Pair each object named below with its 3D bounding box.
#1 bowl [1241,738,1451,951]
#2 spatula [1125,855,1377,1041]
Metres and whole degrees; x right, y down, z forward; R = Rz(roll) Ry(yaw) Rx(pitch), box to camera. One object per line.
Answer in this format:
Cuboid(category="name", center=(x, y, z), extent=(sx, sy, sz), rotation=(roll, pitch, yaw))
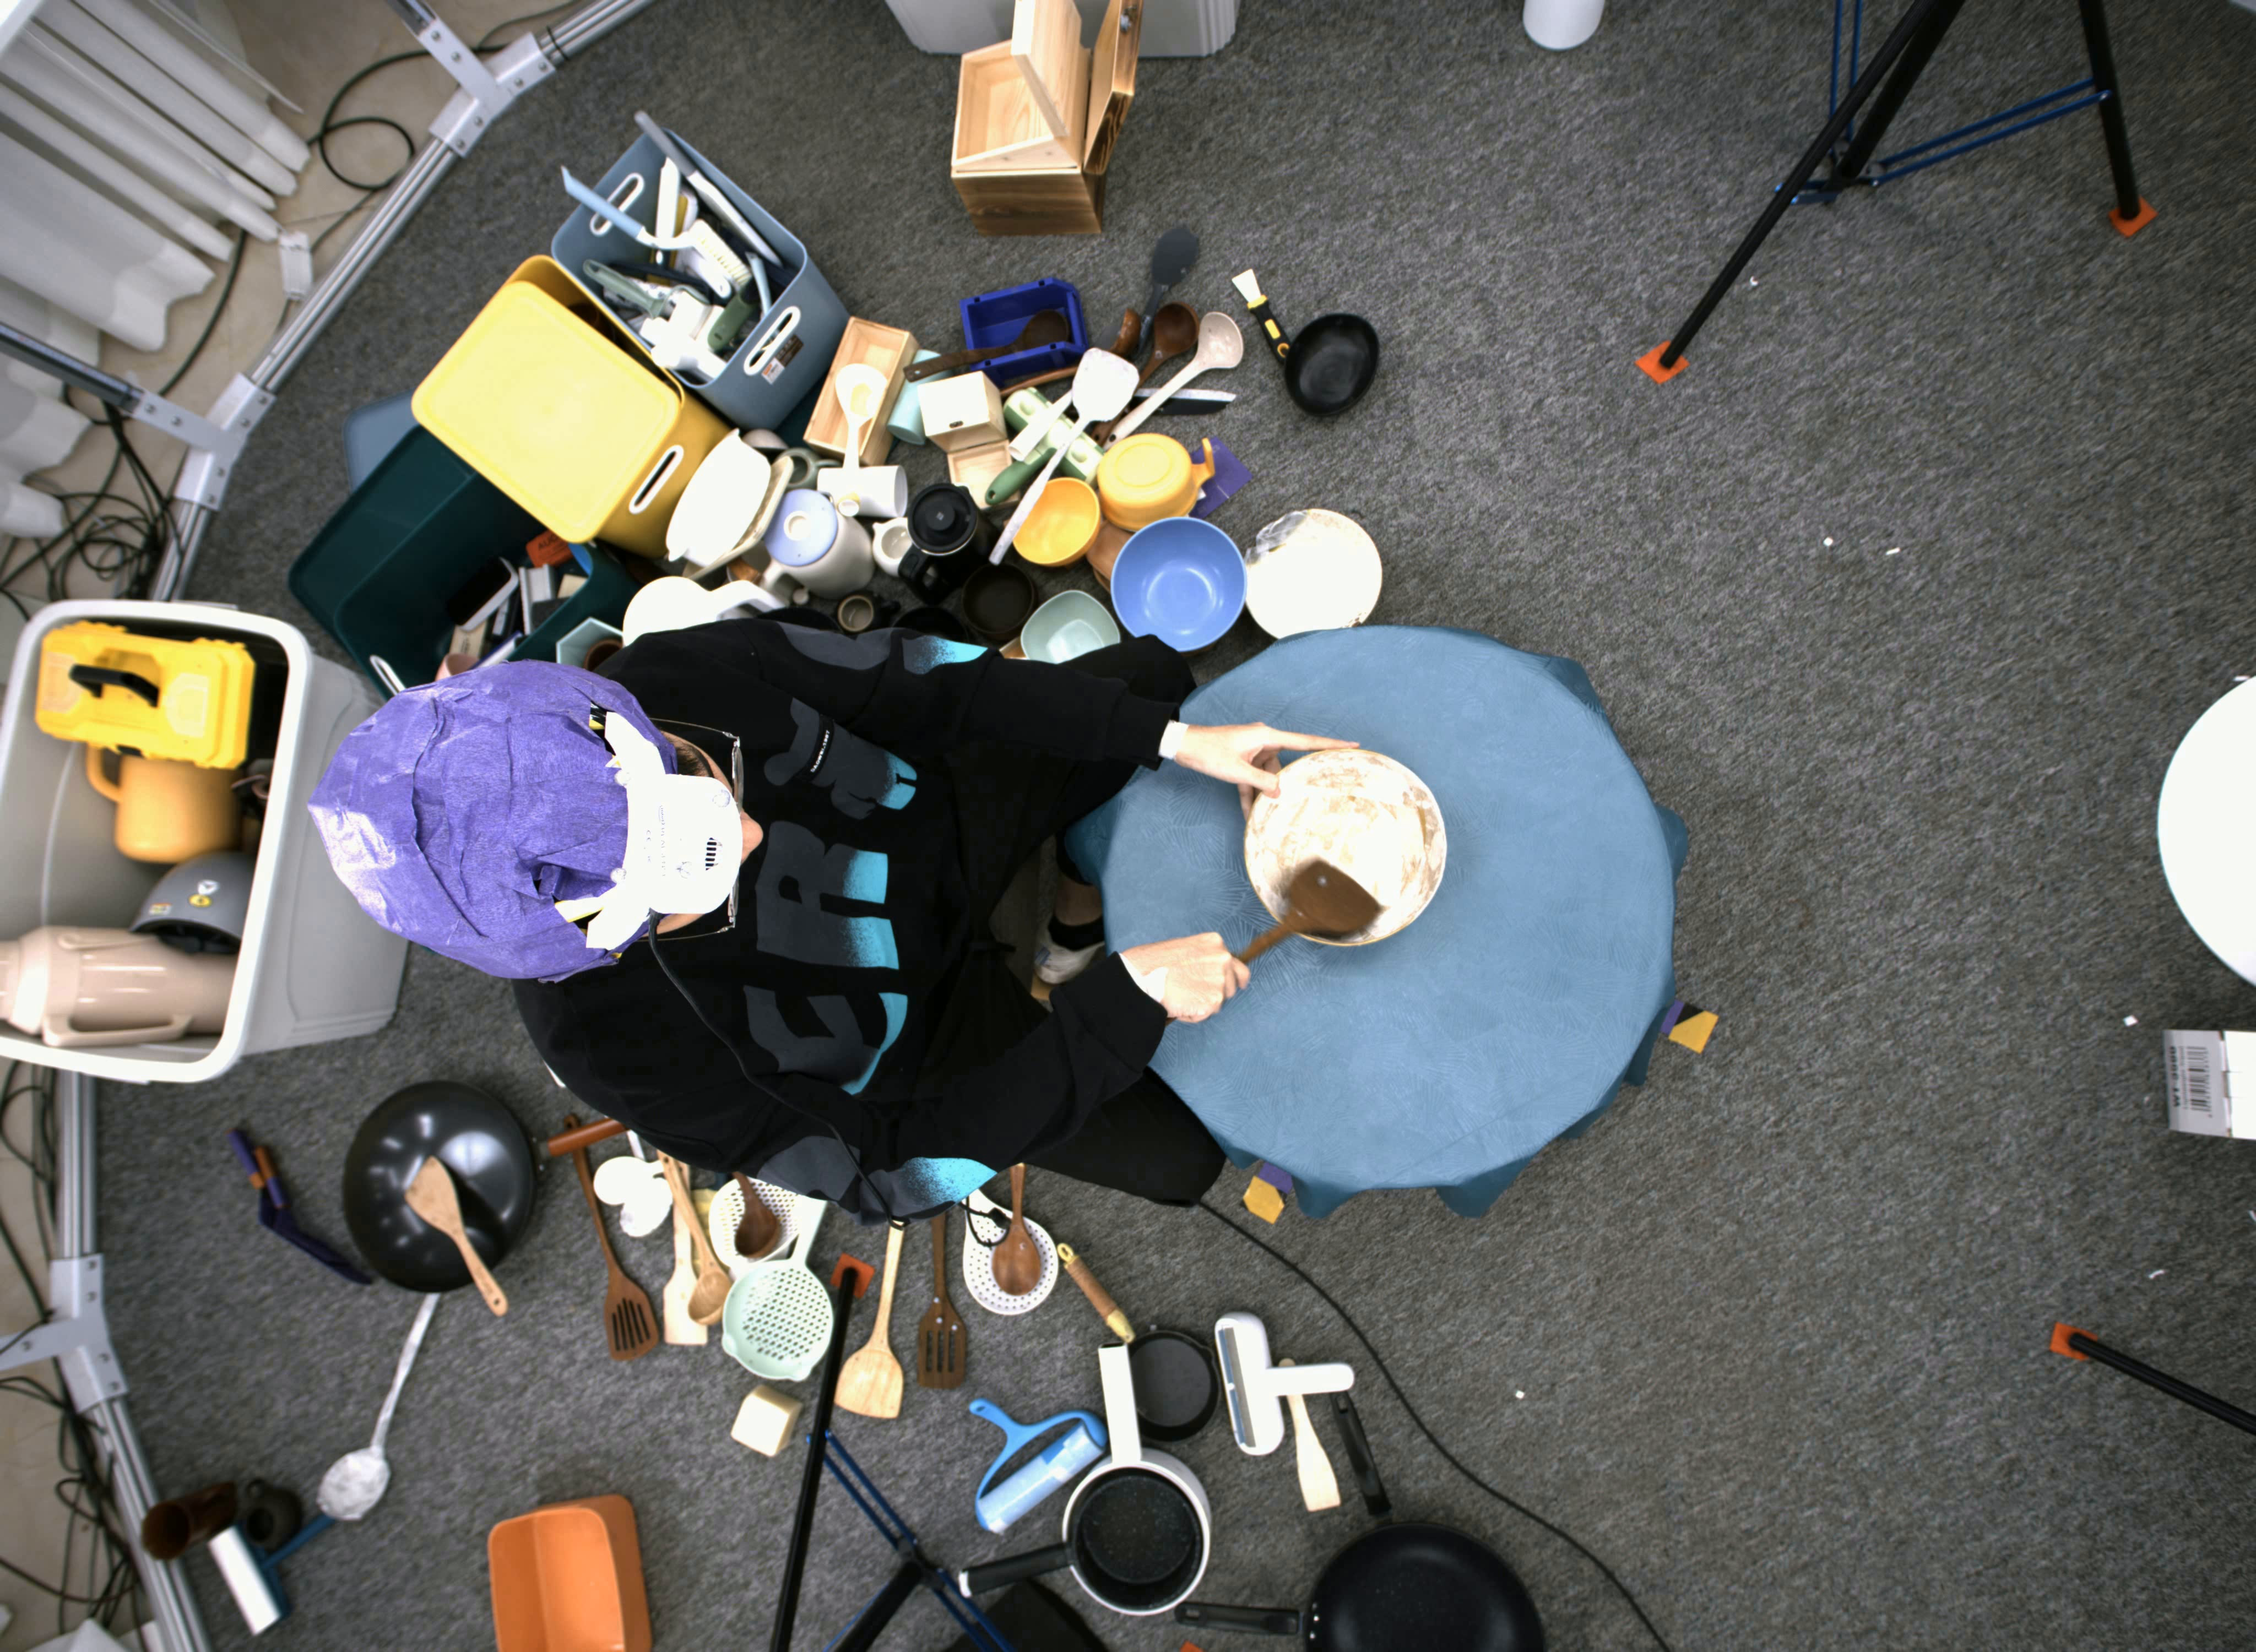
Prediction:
Cuboid(category="bowl", center=(0.217, 0.019, 1.420), extent=(0.215, 0.094, 0.215), rotation=(0, 94, 0))
Cuboid(category="spatula", center=(0.119, 0.117, 1.333), extent=(0.095, 0.379, 0.016), rotation=(43, 130, 18))
